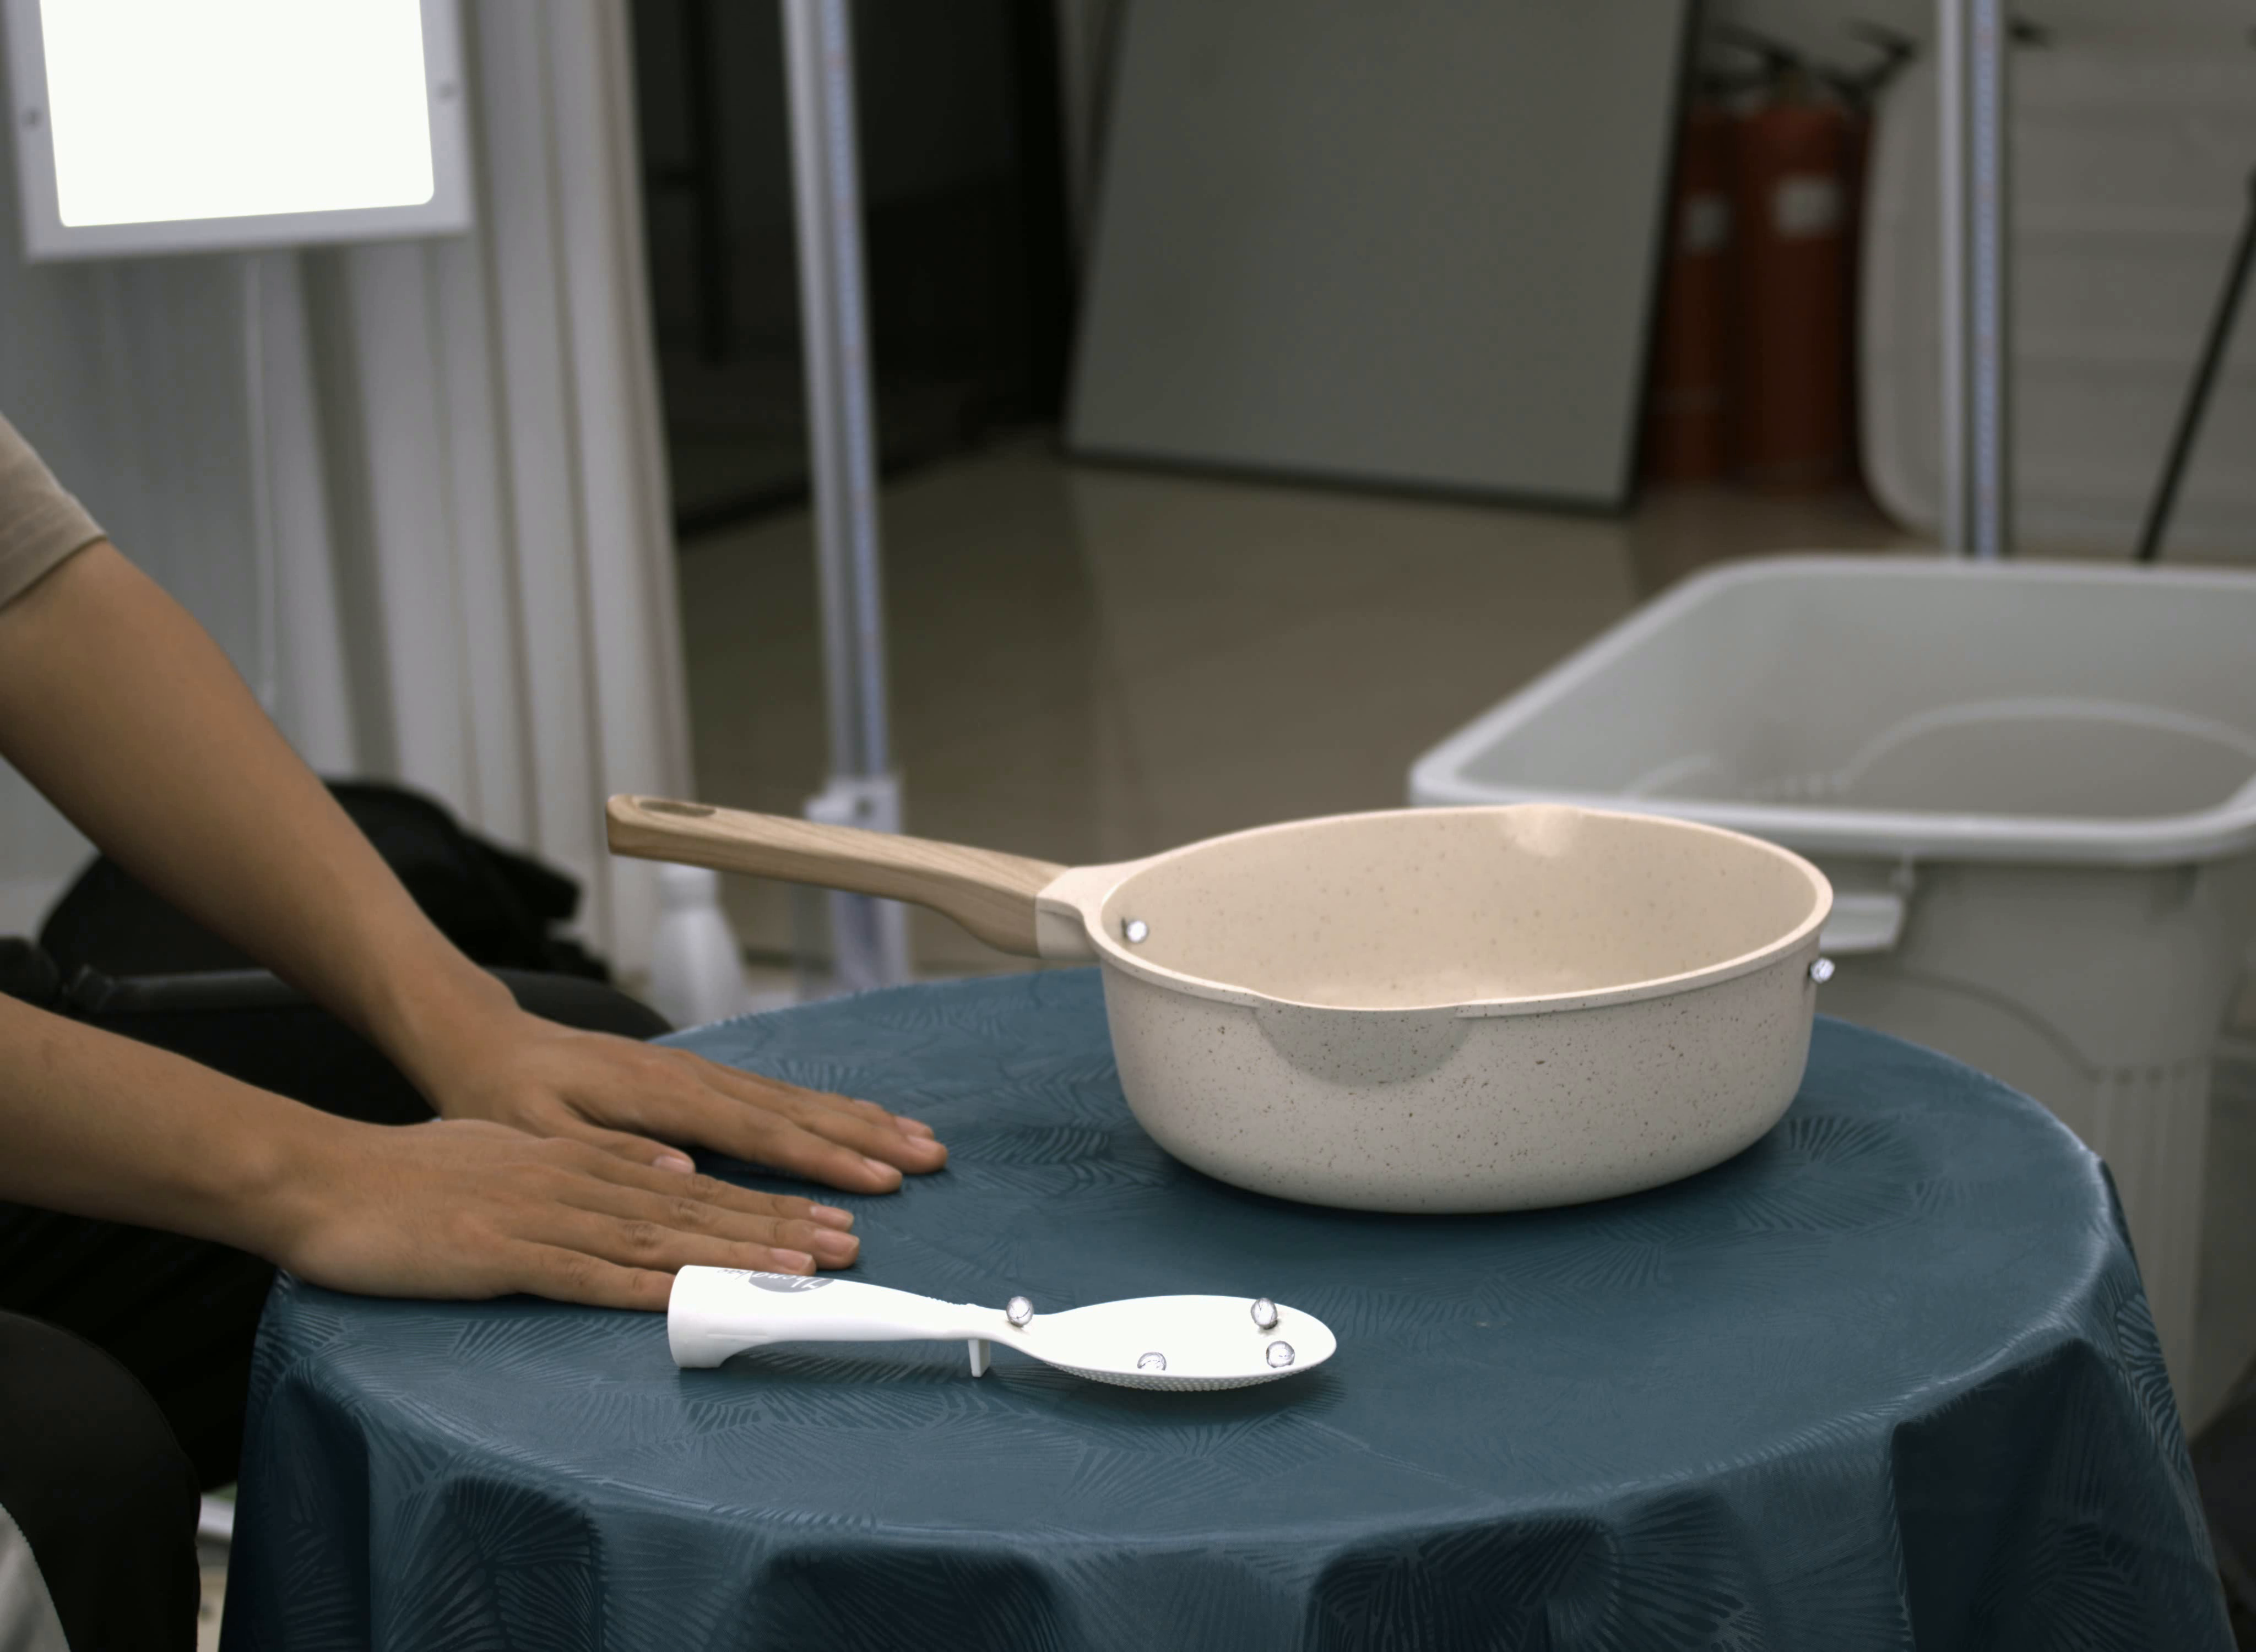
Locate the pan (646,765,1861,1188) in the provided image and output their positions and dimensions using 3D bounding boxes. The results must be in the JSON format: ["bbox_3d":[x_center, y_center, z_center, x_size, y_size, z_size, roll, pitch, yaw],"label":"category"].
[{"bbox_3d":[0.039,0.045,1.856,0.434,0.103,0.261,1,16,20],"label":"pan"}]

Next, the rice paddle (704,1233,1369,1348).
[{"bbox_3d":[-0.027,0.138,1.617,0.204,0.030,0.068,0,15,16],"label":"rice paddle"}]
